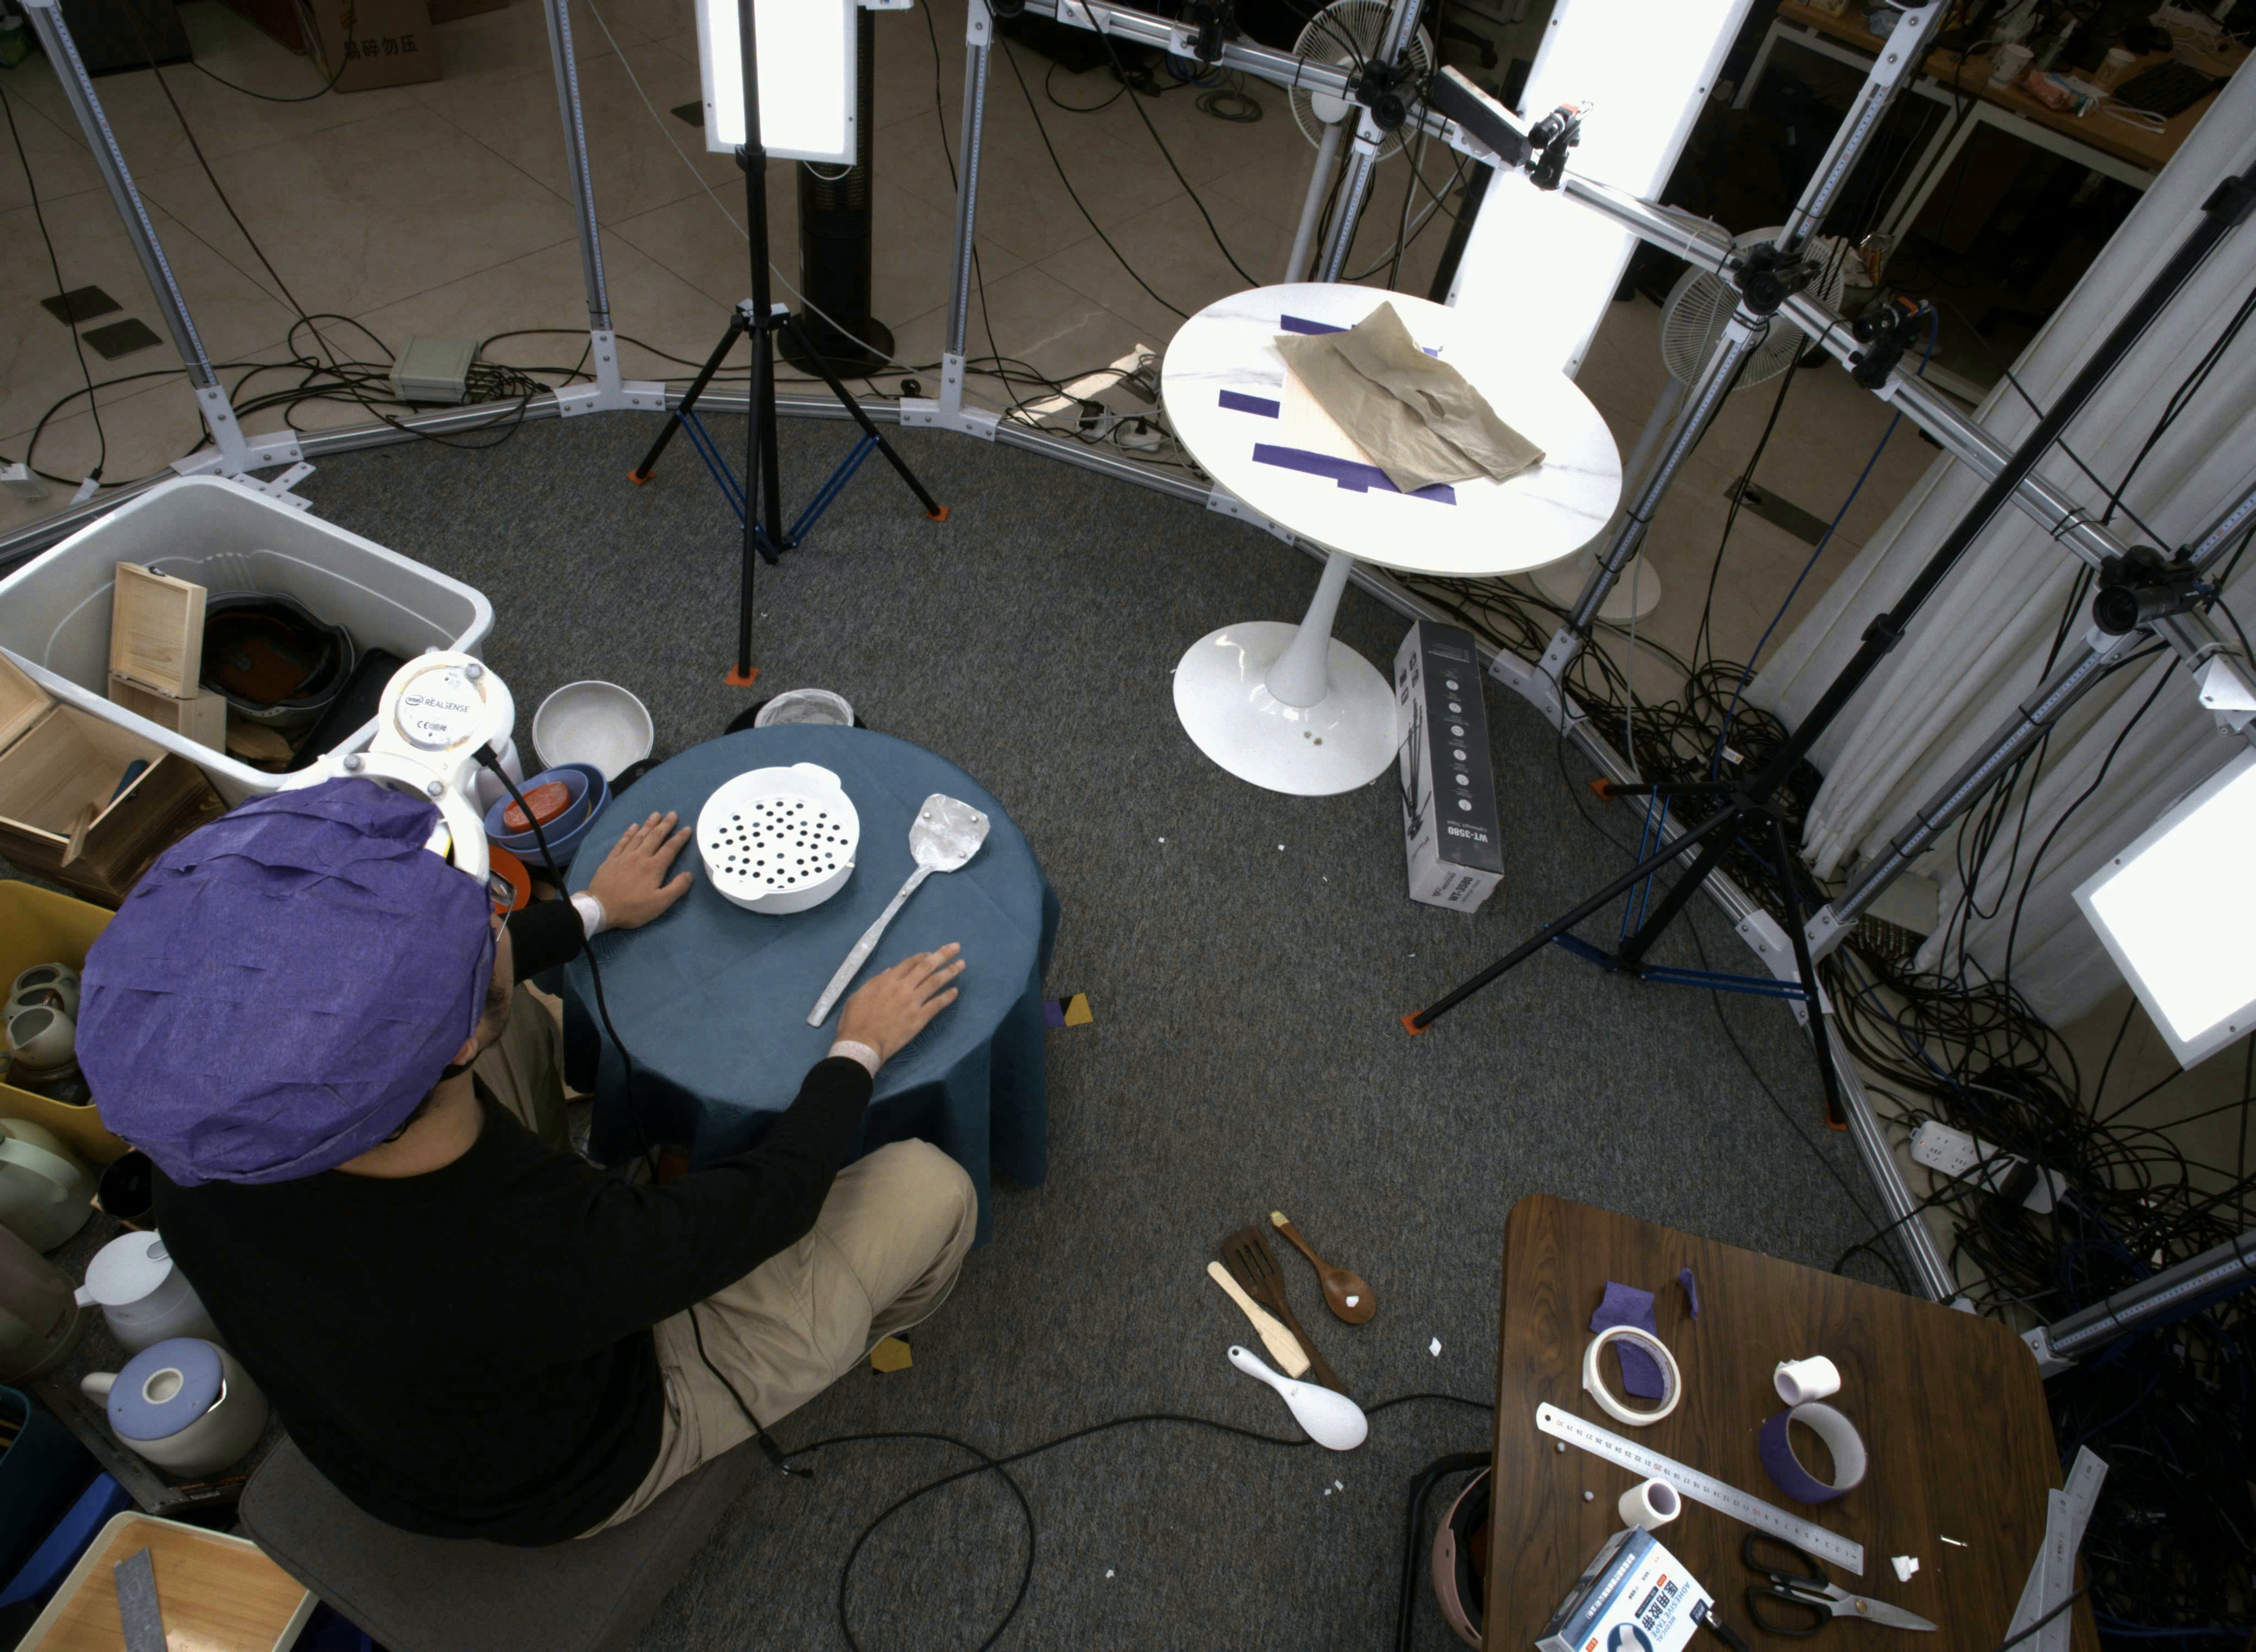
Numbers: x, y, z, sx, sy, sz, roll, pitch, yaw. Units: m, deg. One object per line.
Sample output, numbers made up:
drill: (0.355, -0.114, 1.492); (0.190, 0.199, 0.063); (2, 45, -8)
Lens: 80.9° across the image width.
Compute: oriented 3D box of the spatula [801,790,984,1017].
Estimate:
spatula: (-0.305, 0.097, 1.653); (0.097, 0.045, 0.363); (28, 52, 4)

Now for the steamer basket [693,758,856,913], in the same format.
steamer basket: (-0.449, 0.015, 1.655); (0.199, 0.070, 0.228); (22, 52, 4)
